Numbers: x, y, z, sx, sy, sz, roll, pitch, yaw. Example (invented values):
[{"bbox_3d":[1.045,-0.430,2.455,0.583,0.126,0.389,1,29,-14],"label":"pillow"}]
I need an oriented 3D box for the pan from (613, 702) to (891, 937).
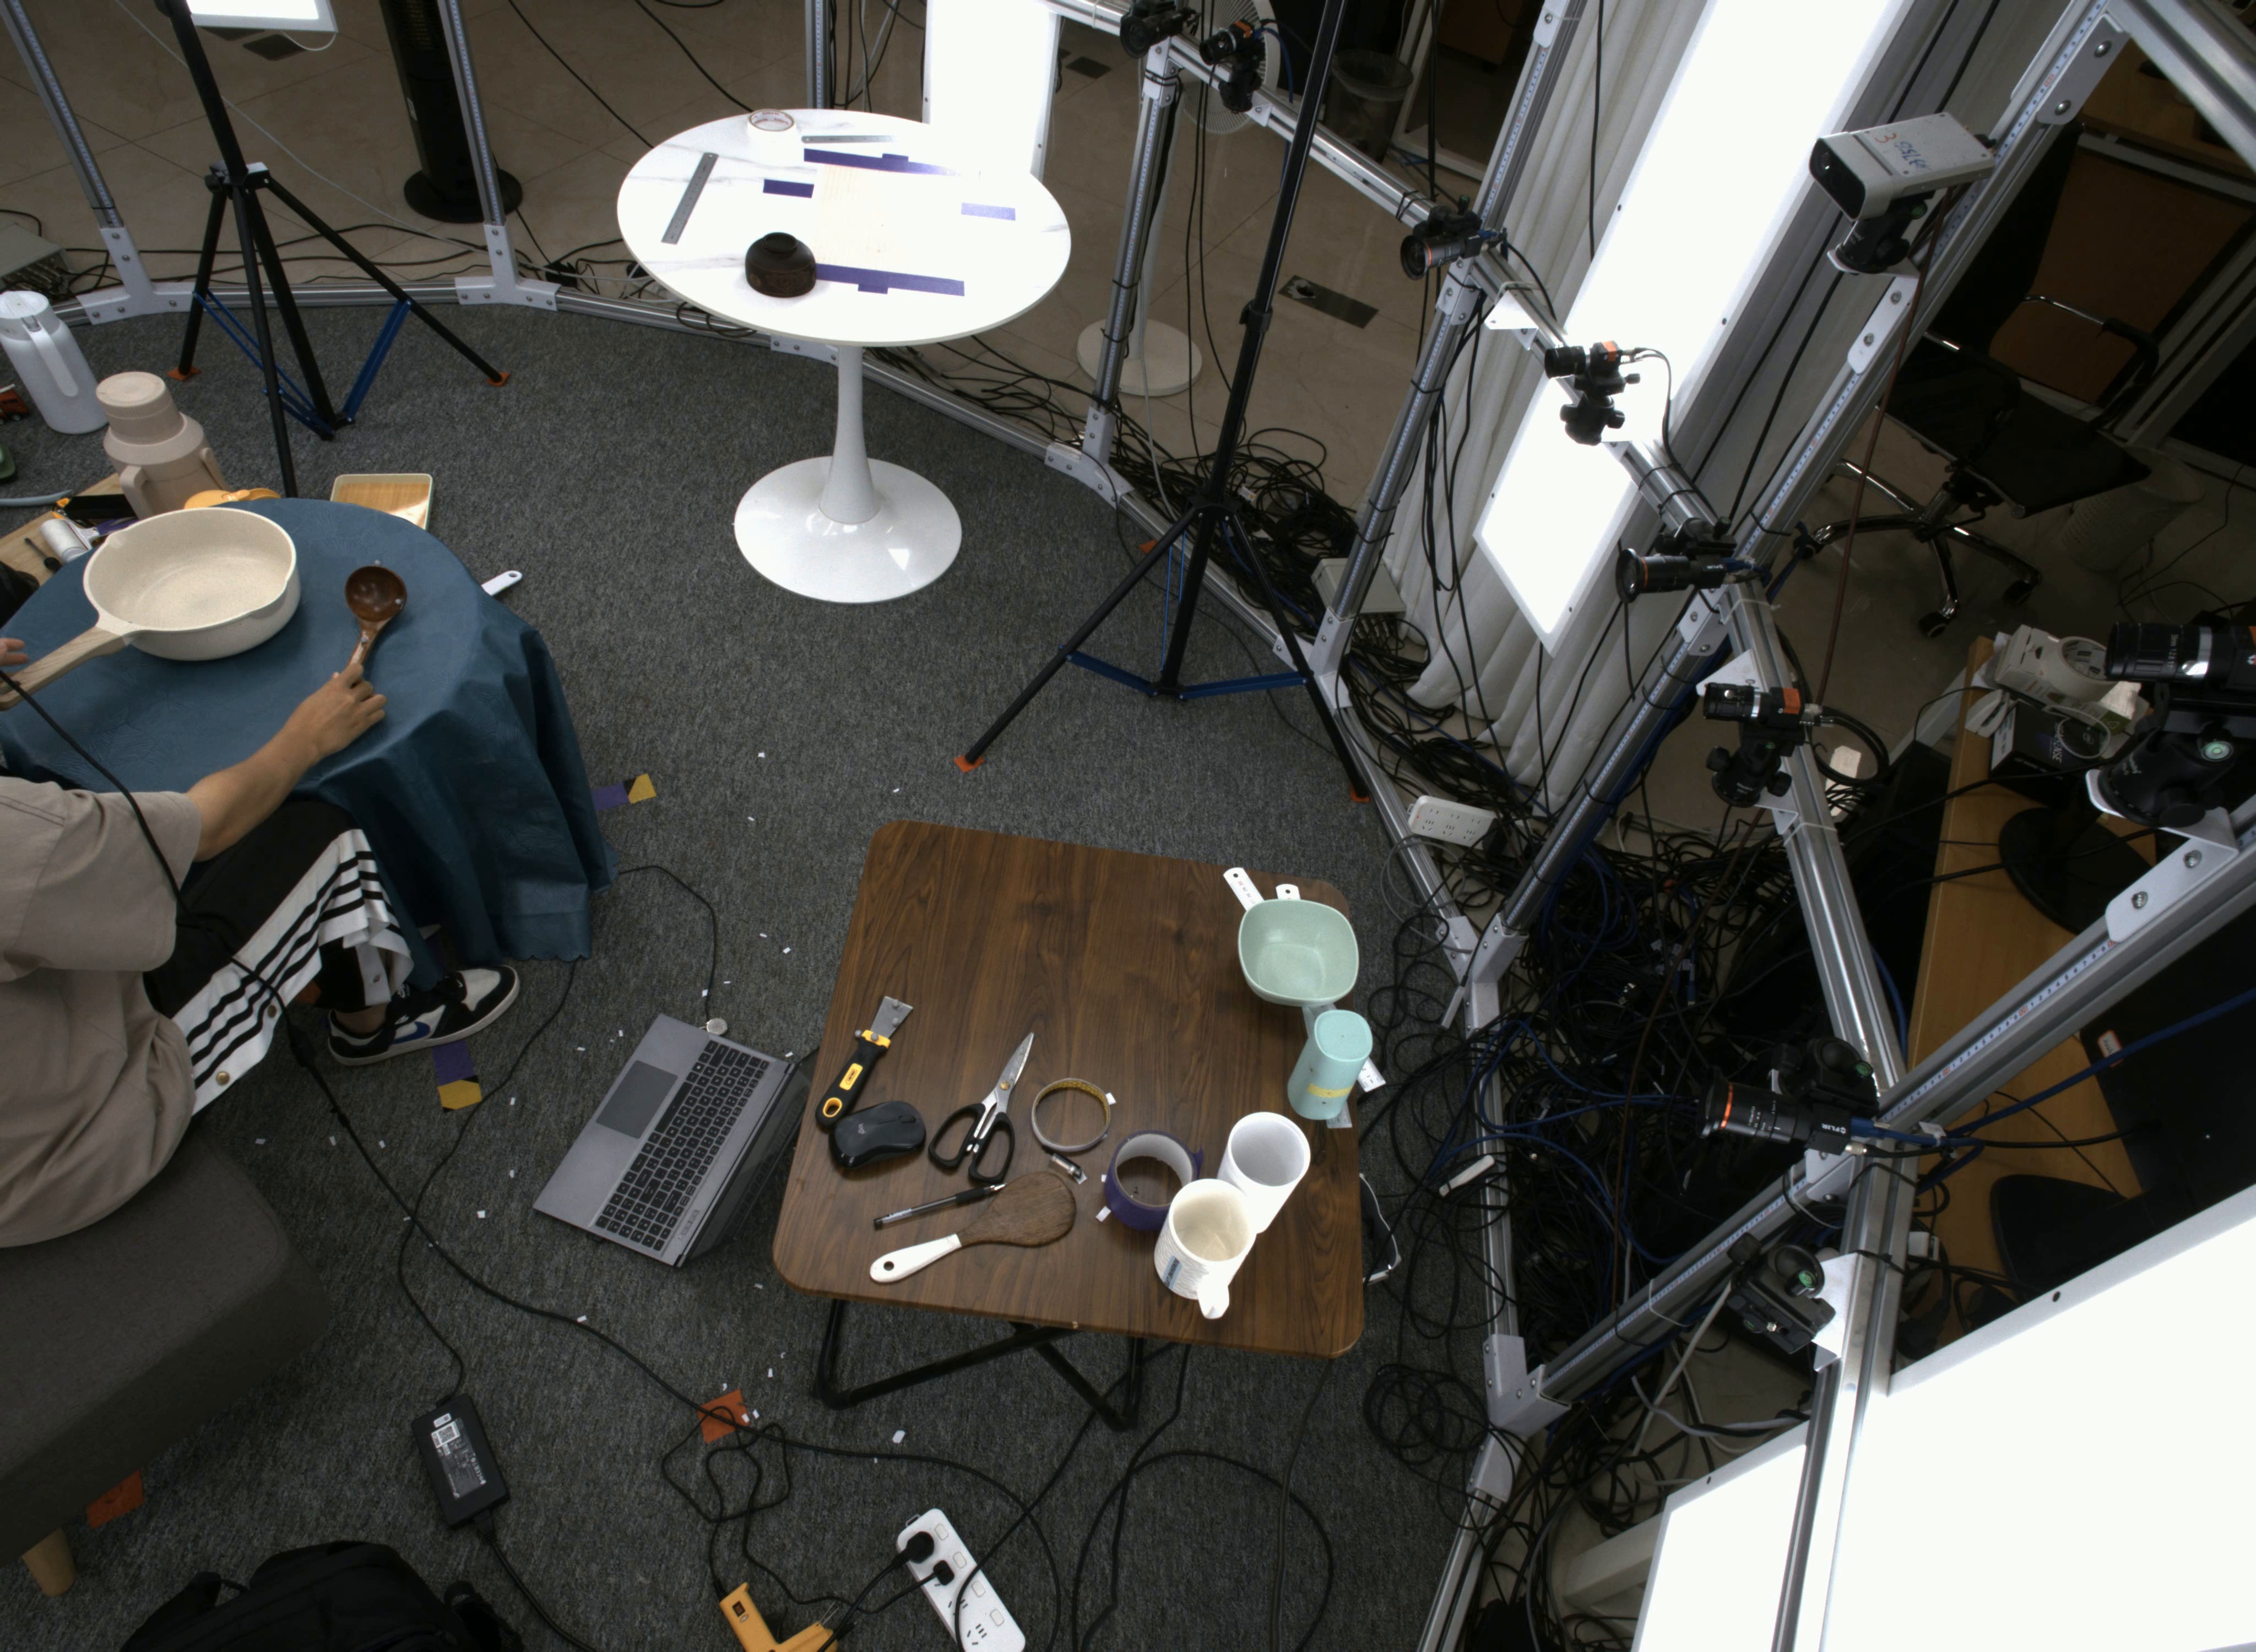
[{"bbox_3d":[-0.488,0.010,1.649,0.259,0.104,0.434,33,54,11],"label":"pan"}]

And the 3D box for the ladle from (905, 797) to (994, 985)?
[{"bbox_3d":[-0.234,0.074,1.664,0.081,0.079,0.270,11,45,1],"label":"ladle"}]
